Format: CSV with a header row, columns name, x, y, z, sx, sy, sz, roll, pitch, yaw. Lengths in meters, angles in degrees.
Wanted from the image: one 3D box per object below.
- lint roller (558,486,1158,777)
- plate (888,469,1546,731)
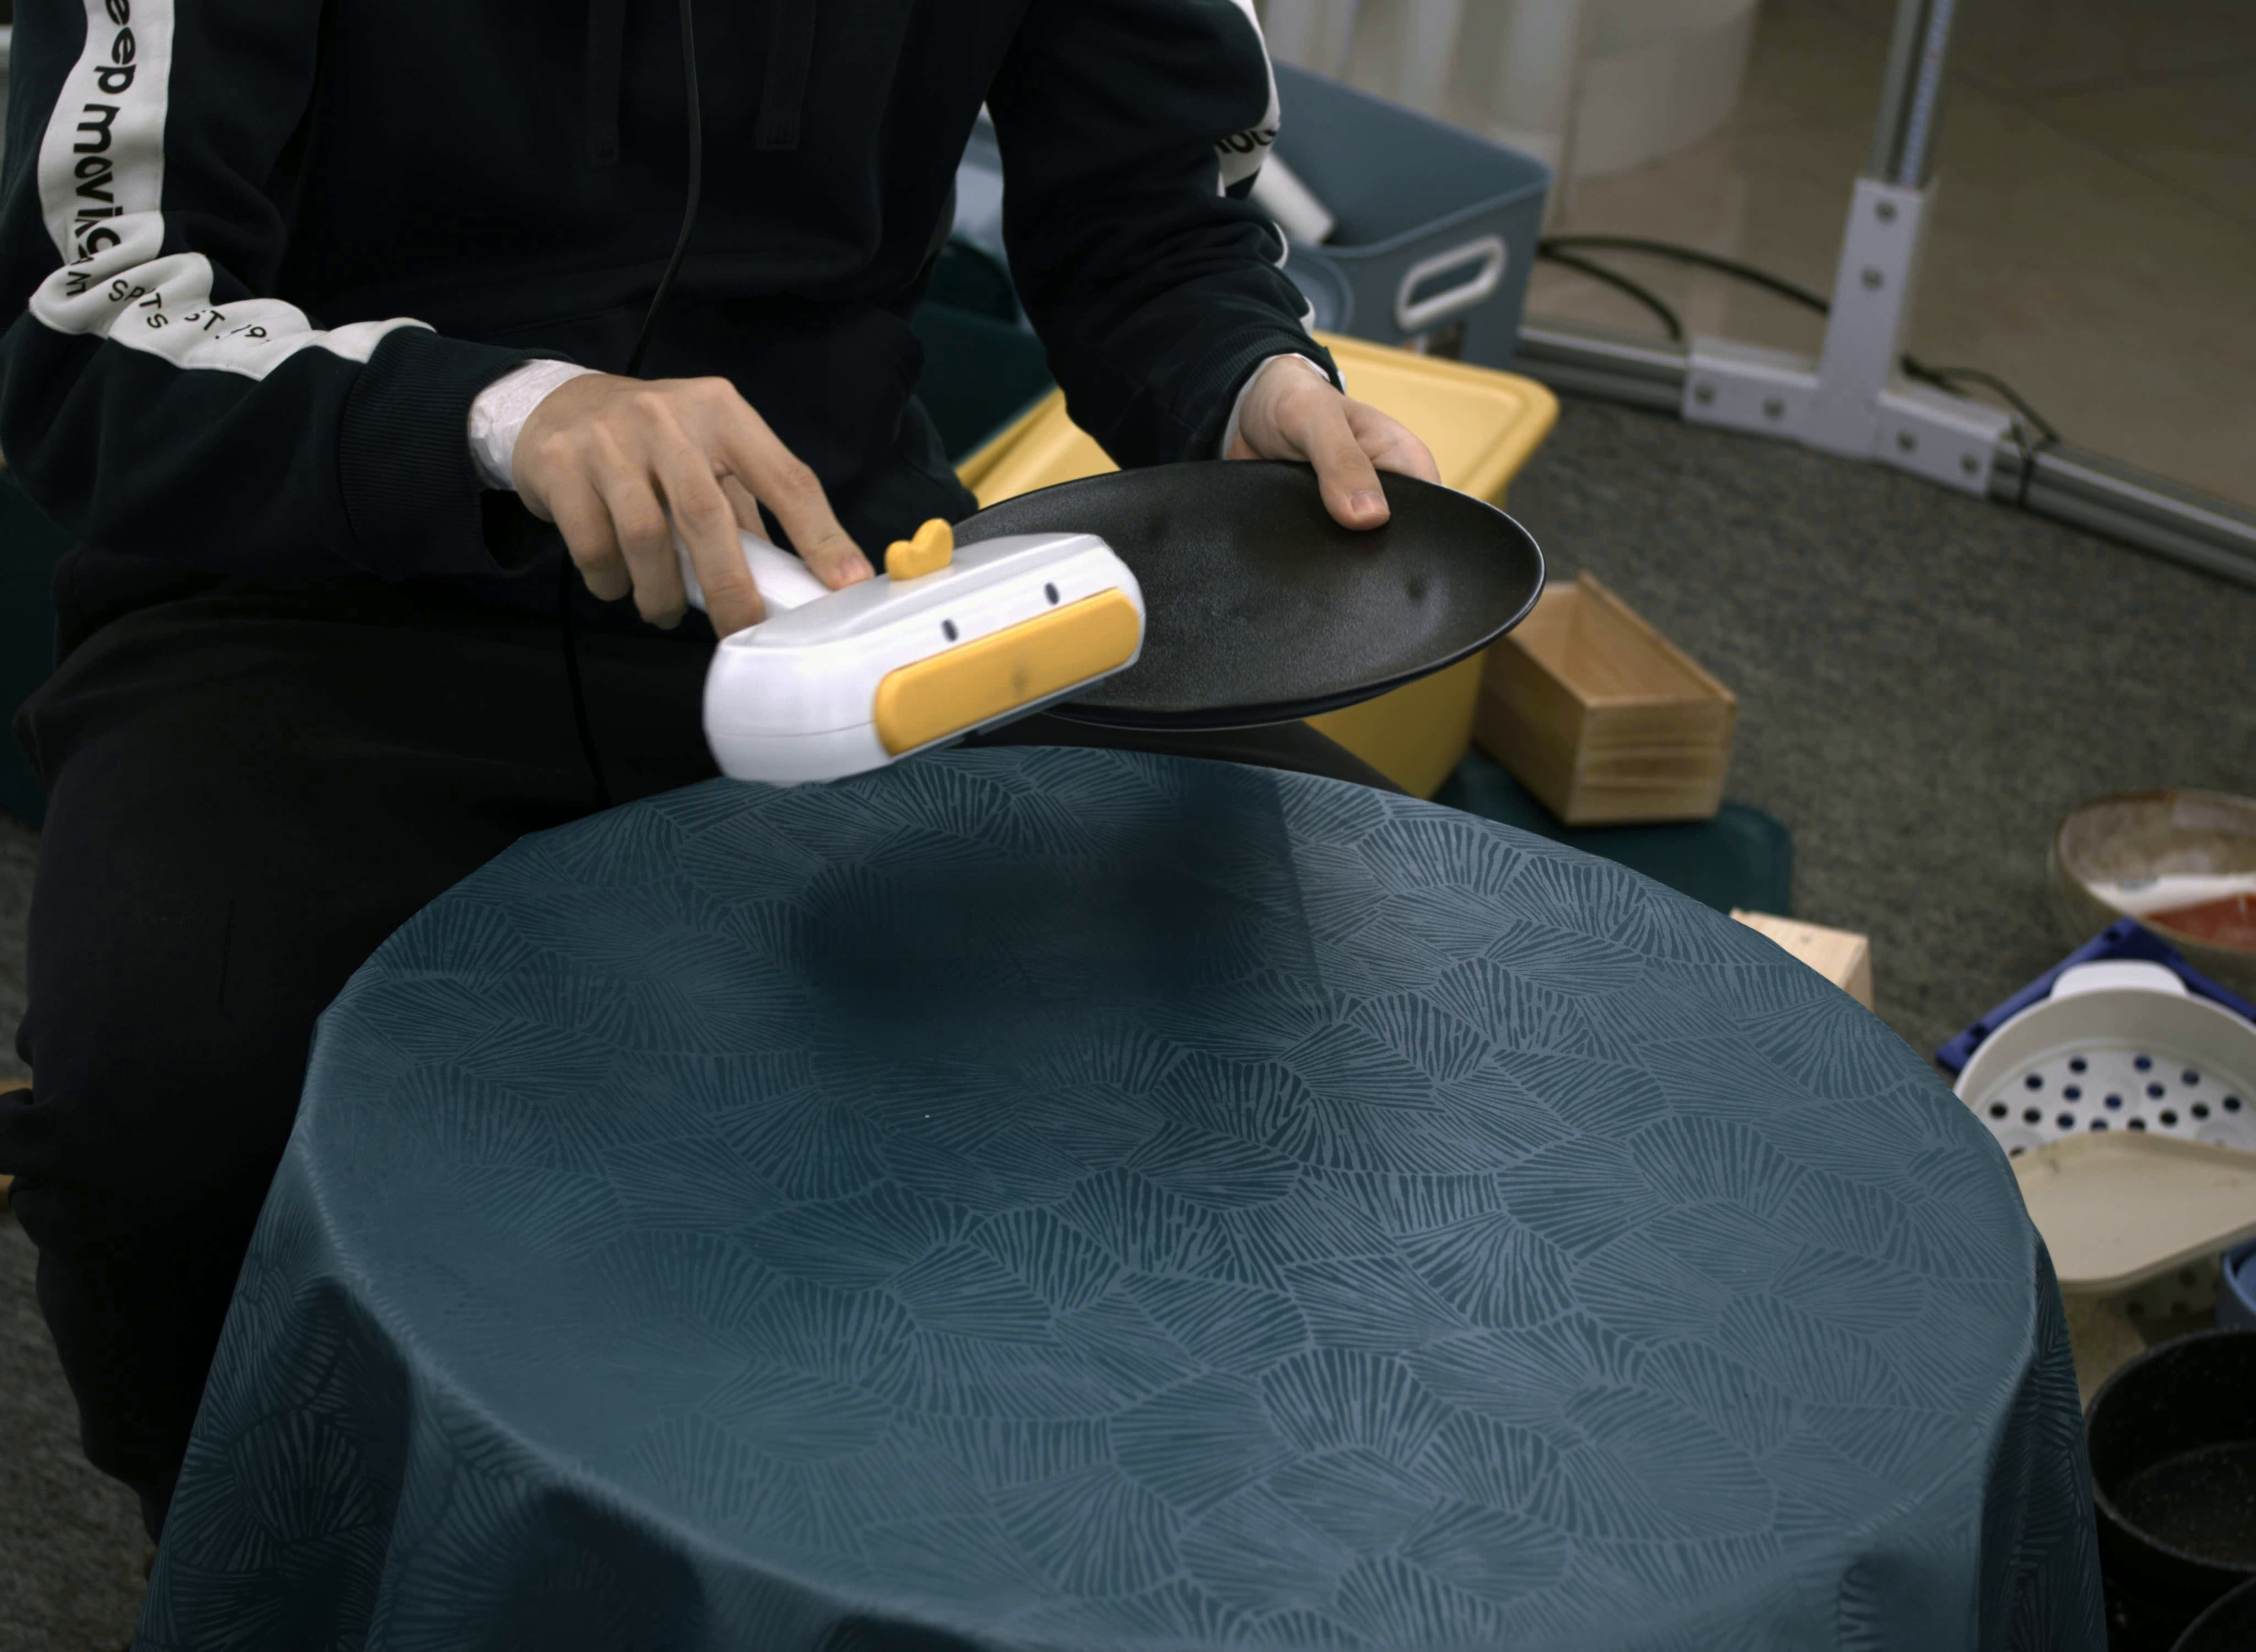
name,x,y,z,sx,sy,sz,roll,pitch,yaw
lint roller,-0.111,-0.076,1.823,0.193,0.074,0.192,10,25,30
plate,0.030,-0.079,1.926,0.244,0.023,0.245,-4,23,1
